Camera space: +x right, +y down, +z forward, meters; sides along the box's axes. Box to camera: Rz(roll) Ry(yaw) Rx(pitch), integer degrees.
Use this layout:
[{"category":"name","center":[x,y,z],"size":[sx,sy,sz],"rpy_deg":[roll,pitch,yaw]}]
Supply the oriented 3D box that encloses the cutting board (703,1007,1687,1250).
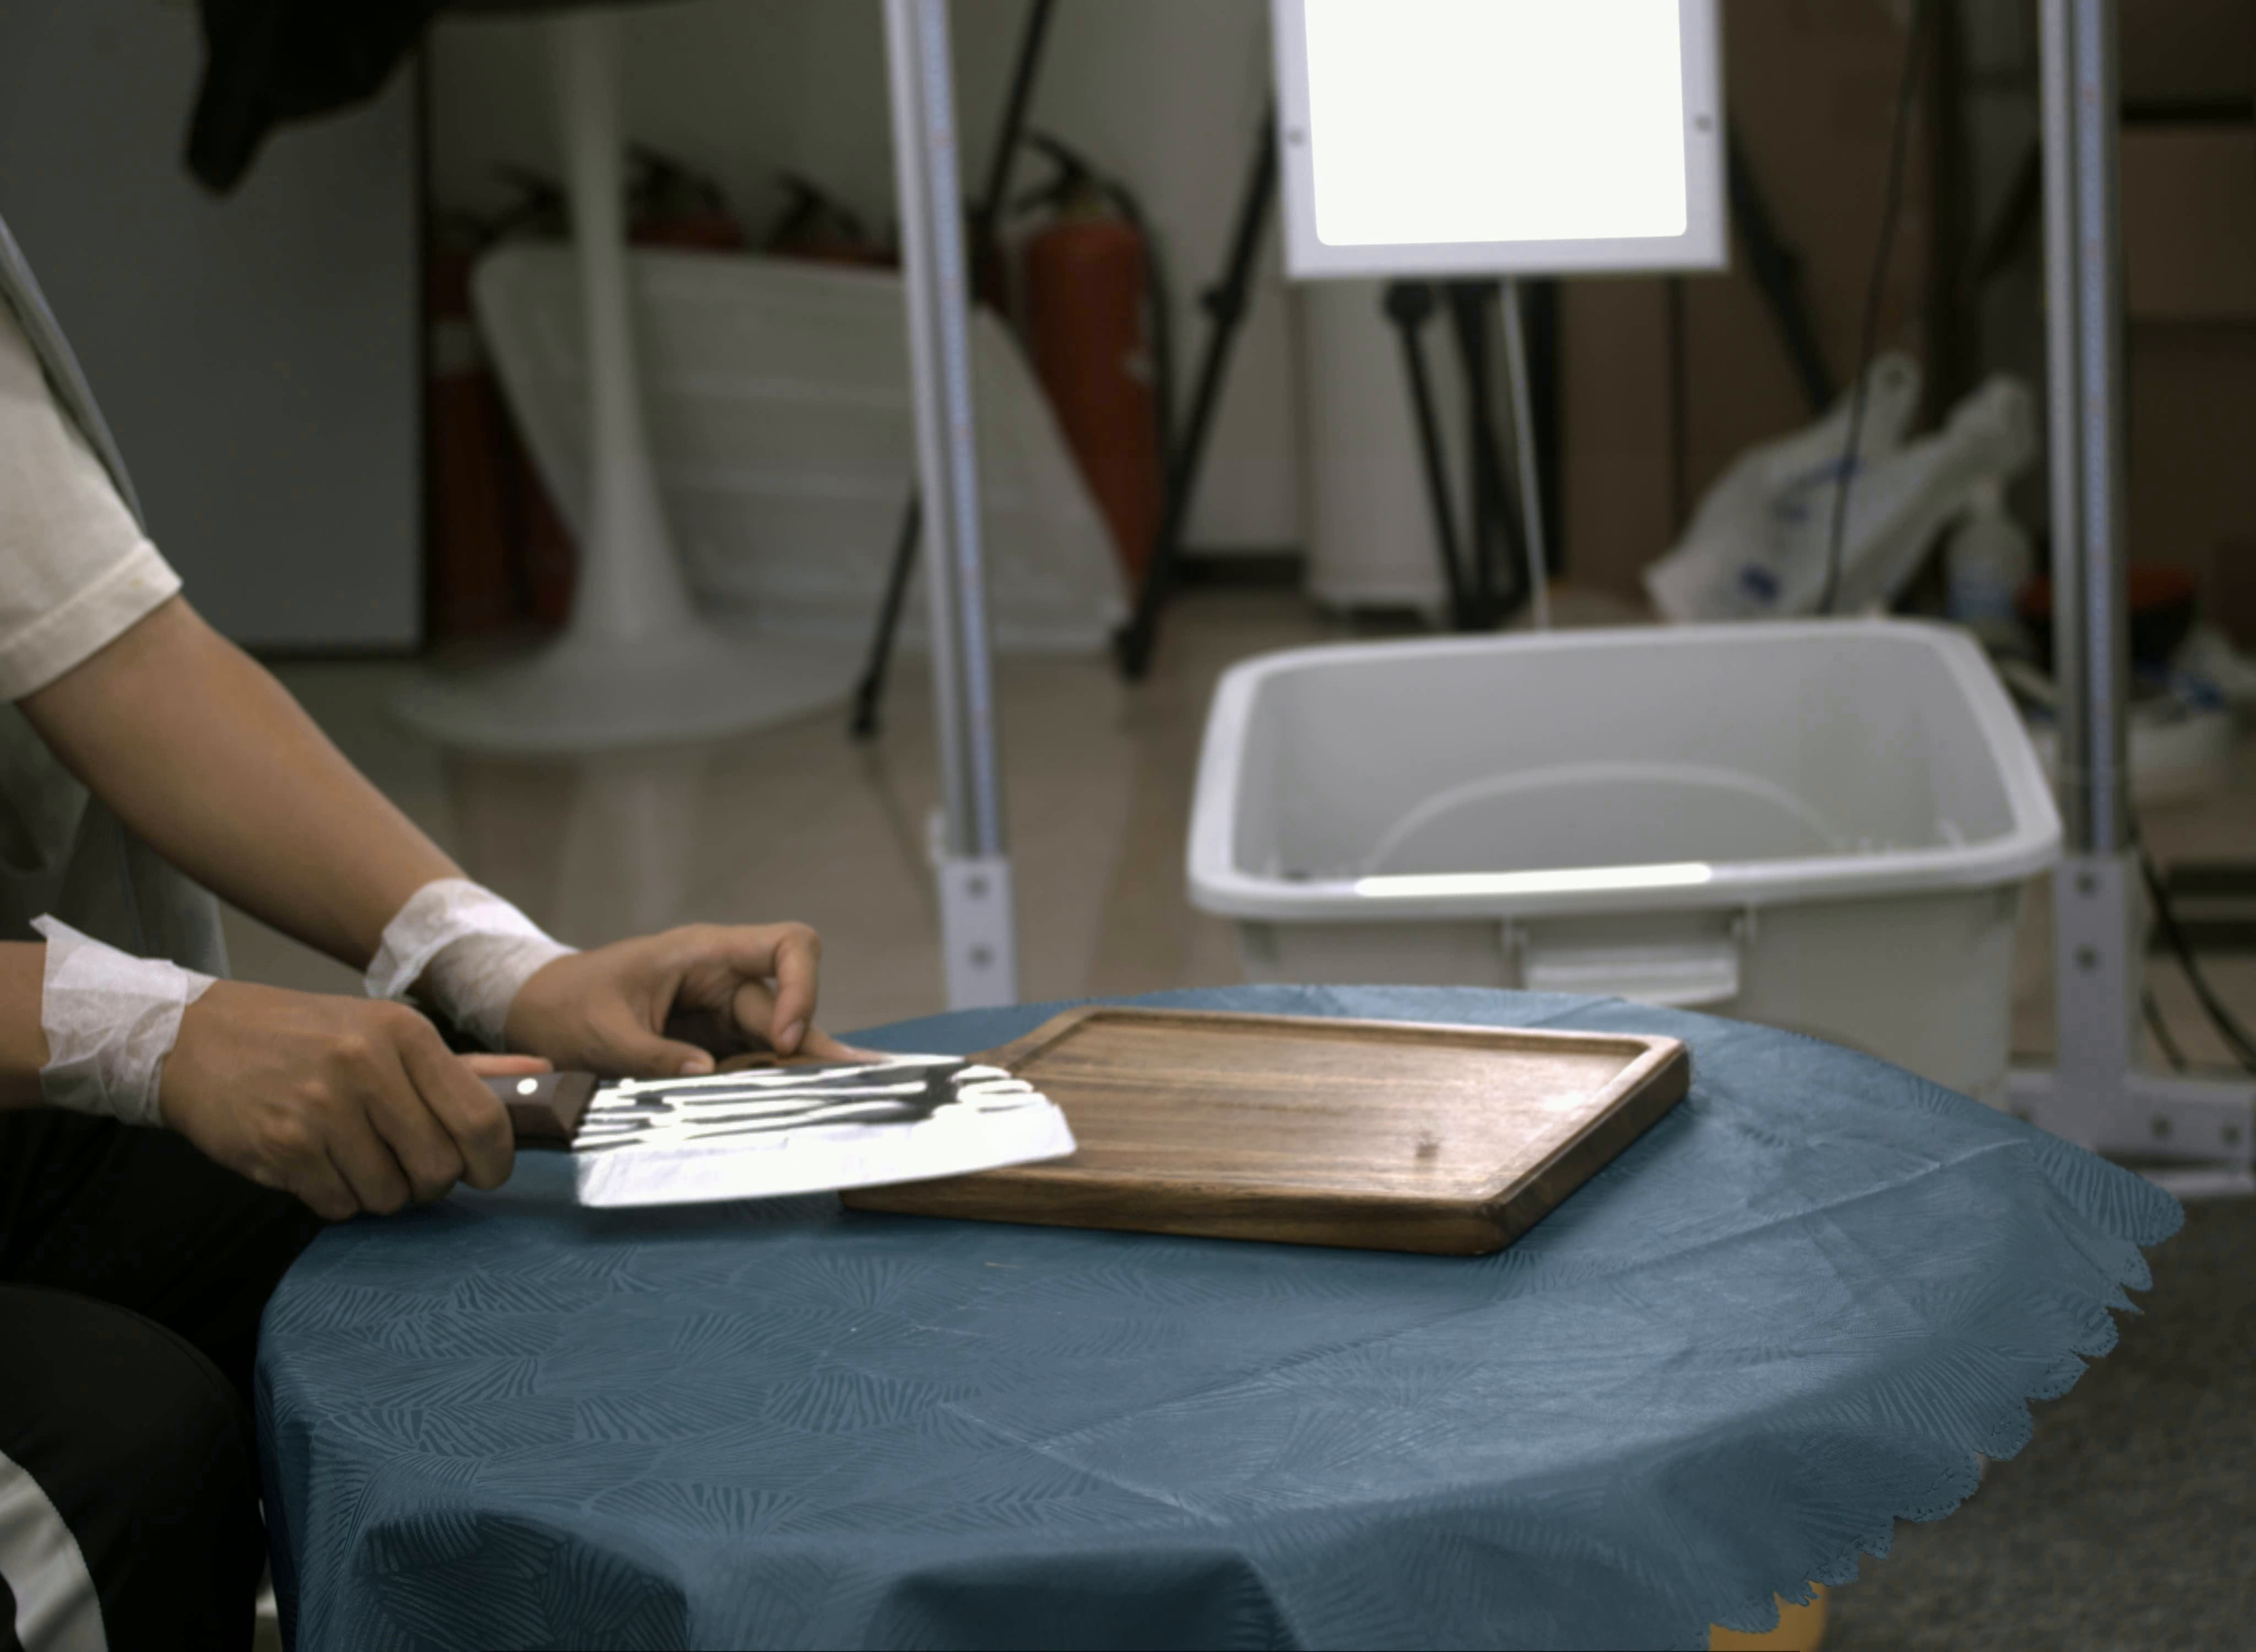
[{"category":"cutting board","center":[0.005,0.102,1.953],"size":[0.358,0.023,0.197],"rpy_deg":[1,15,28]}]

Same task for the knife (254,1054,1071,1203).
[{"category":"knife","center":[-0.165,0.107,1.923],"size":[0.301,0.024,0.067],"rpy_deg":[-4,37,11]}]
